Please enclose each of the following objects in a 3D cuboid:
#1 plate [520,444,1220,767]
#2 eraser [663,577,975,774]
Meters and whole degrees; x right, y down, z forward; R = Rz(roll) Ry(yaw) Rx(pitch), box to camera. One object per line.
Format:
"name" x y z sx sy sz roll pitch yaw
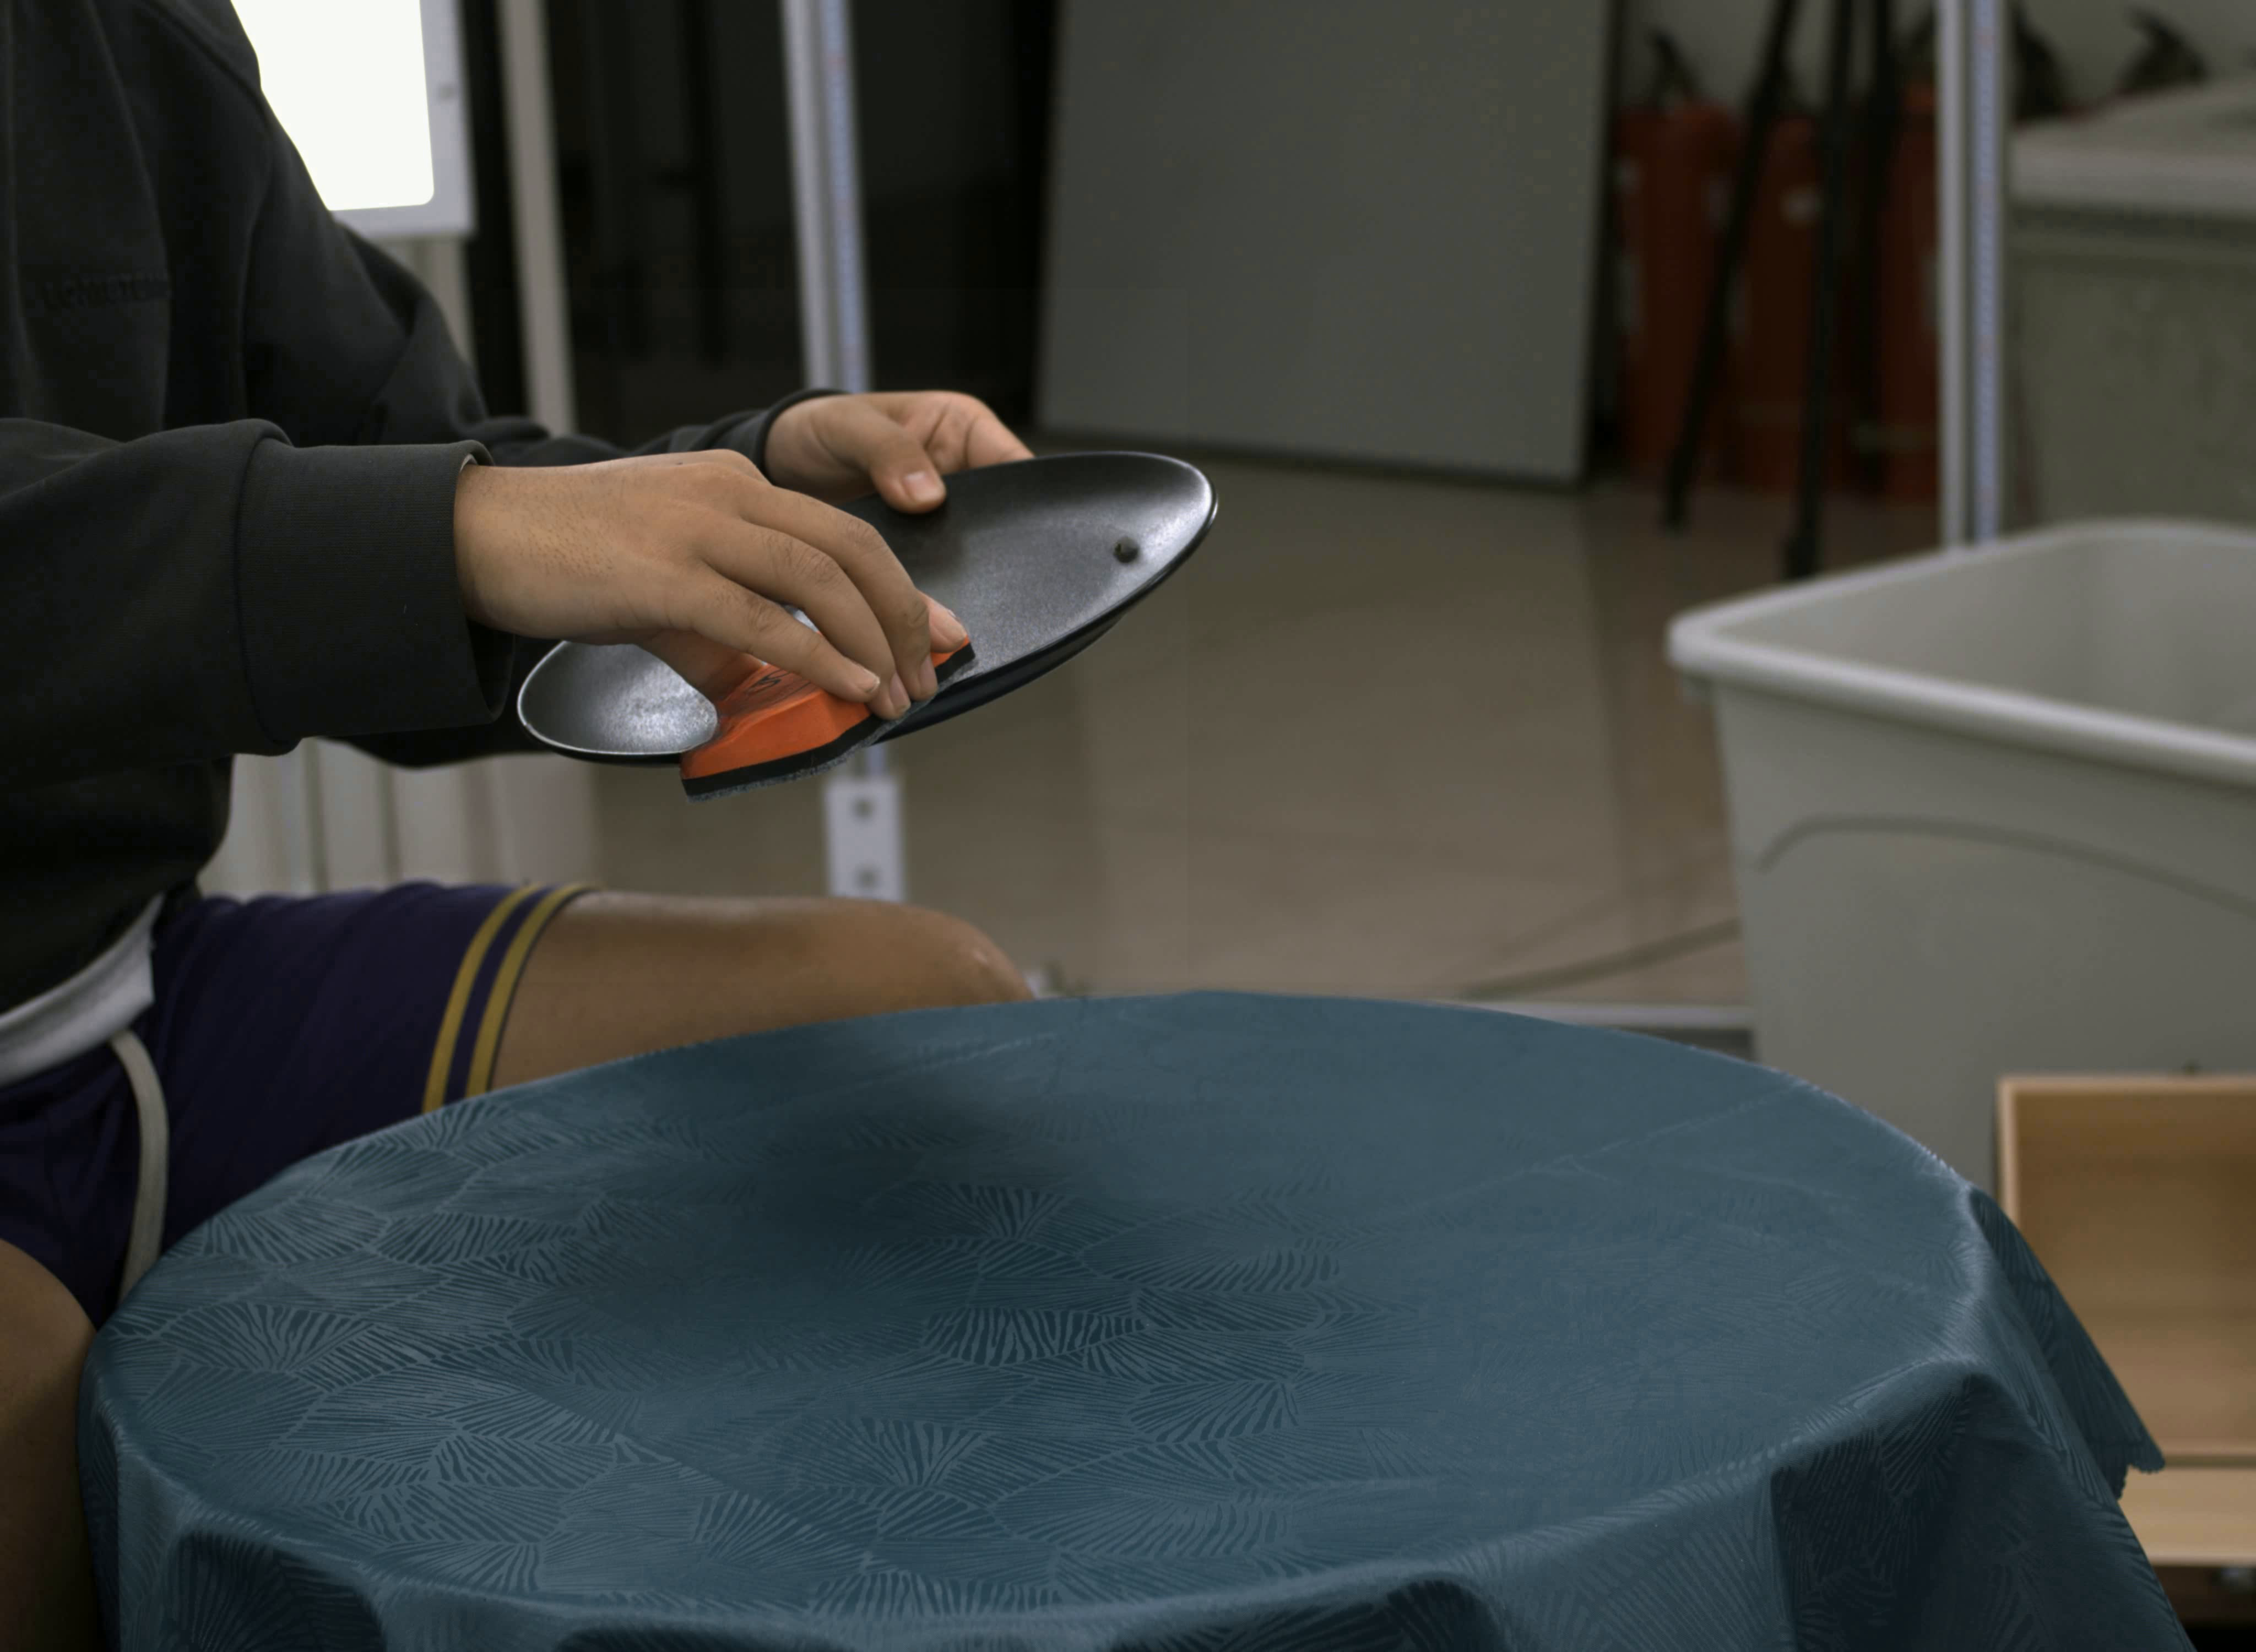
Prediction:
"plate" -0.083 -0.068 1.773 0.242 0.023 0.245 -18 18 5
"eraser" -0.093 -0.046 1.636 0.059 0.023 0.107 -12 12 29
